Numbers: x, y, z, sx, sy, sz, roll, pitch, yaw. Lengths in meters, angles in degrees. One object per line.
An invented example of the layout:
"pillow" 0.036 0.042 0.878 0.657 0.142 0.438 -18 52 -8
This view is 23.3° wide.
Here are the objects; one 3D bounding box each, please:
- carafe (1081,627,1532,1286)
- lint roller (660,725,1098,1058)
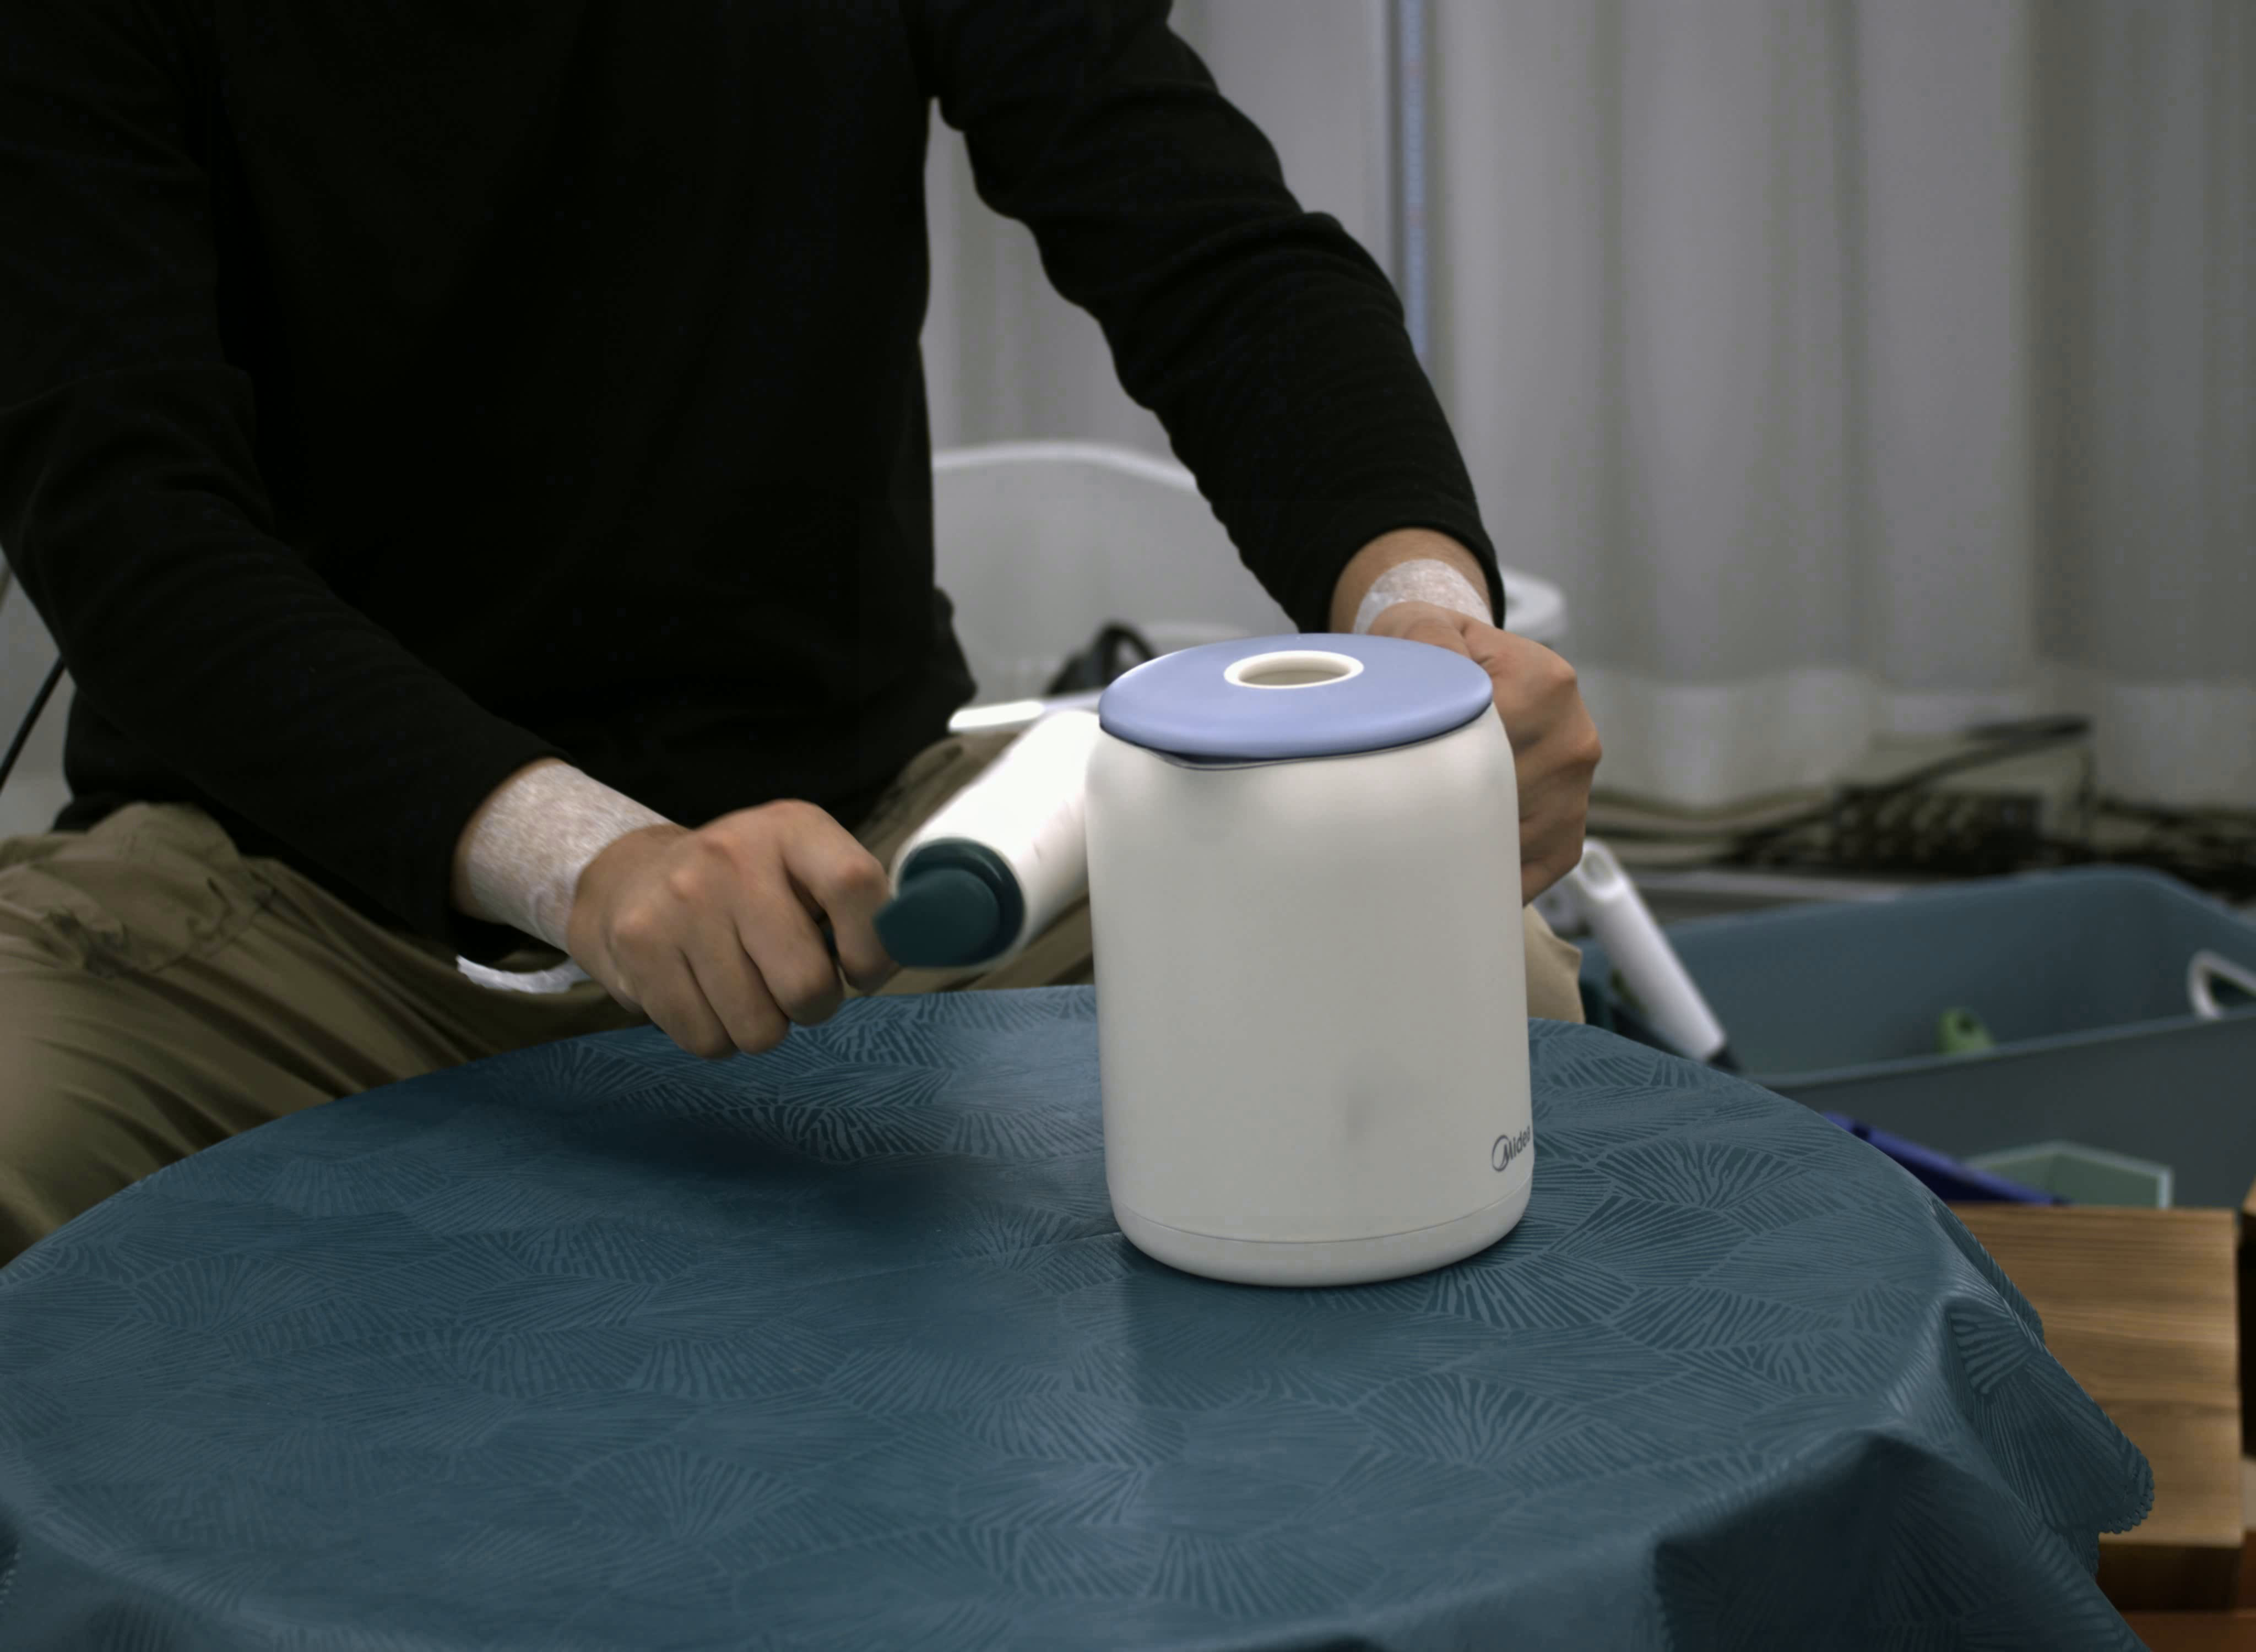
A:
"carafe" 0.064 0.032 1.673 0.132 0.182 0.191 4 15 24
"lint roller" -0.085 0.027 1.731 0.179 0.048 0.135 -20 13 29
